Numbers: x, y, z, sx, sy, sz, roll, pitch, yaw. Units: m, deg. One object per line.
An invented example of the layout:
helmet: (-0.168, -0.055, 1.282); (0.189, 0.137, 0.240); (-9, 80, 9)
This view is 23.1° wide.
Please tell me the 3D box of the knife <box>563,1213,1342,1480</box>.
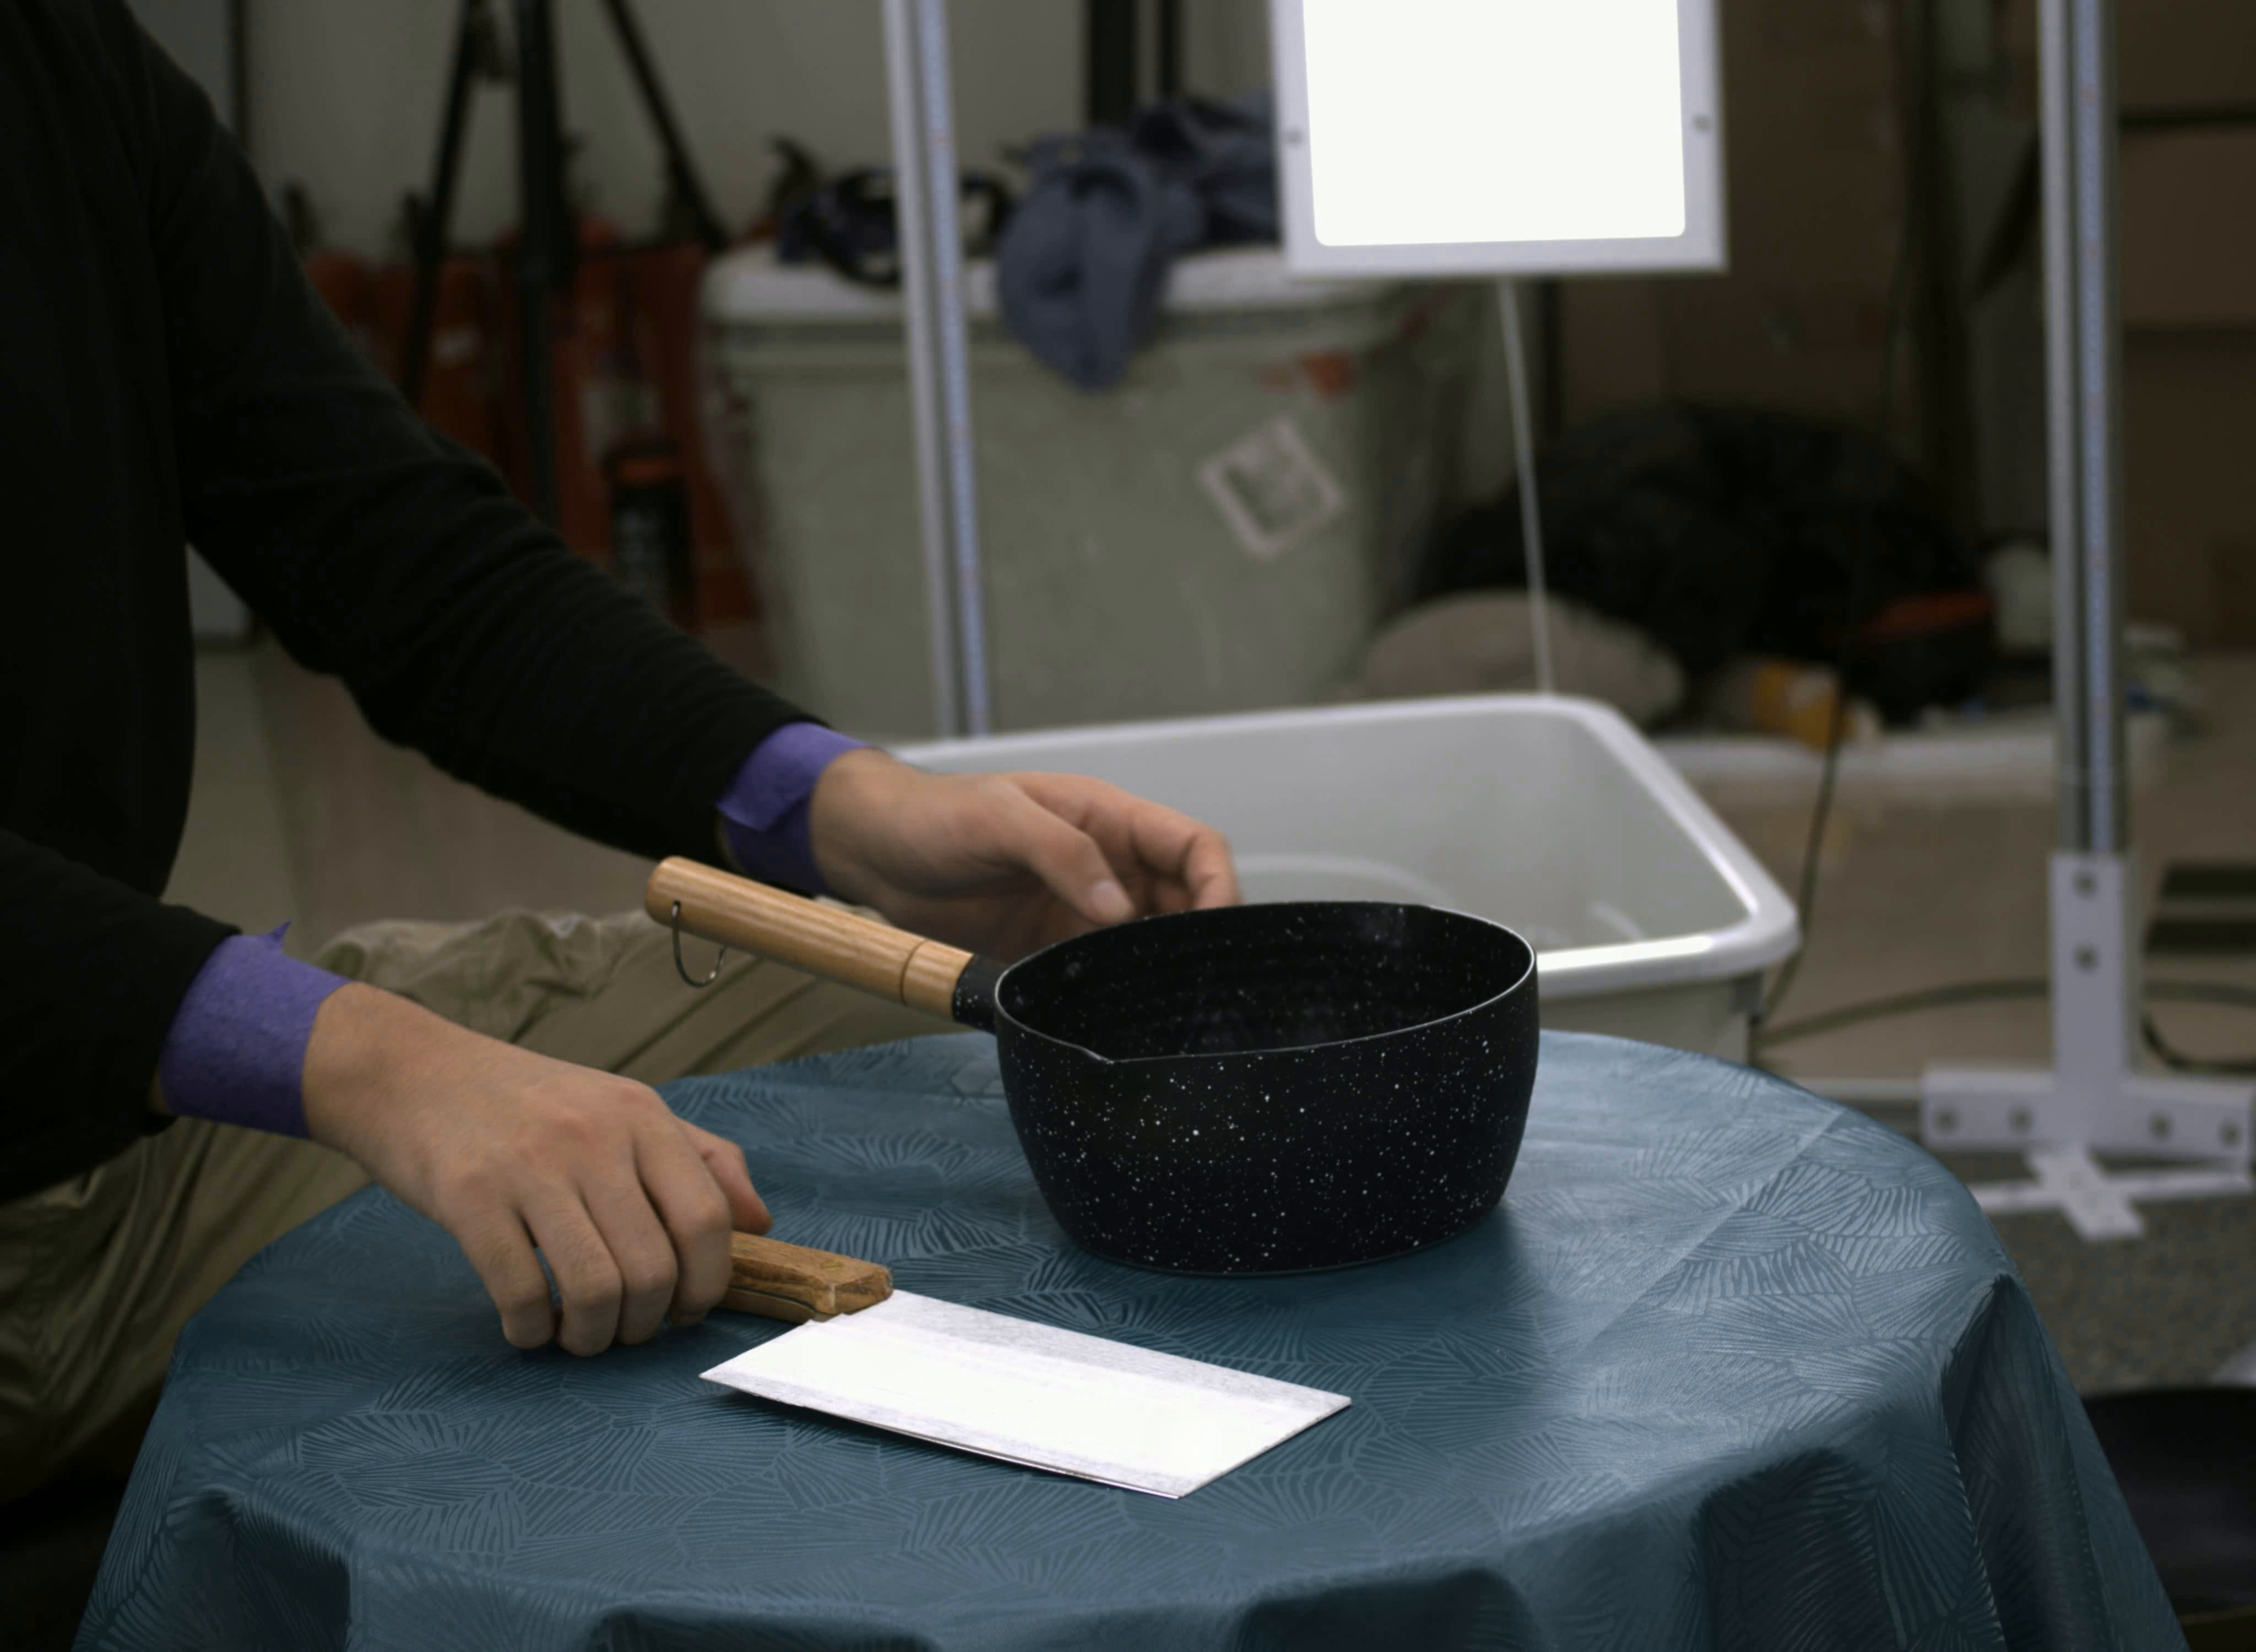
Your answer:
knife: (-0.076, 0.166, 1.736); (0.312, 0.021, 0.090); (9, 21, 39)

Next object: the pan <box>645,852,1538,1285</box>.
pan: (-0.022, 0.075, 1.895); (0.349, 0.108, 0.203); (5, 17, 31)
